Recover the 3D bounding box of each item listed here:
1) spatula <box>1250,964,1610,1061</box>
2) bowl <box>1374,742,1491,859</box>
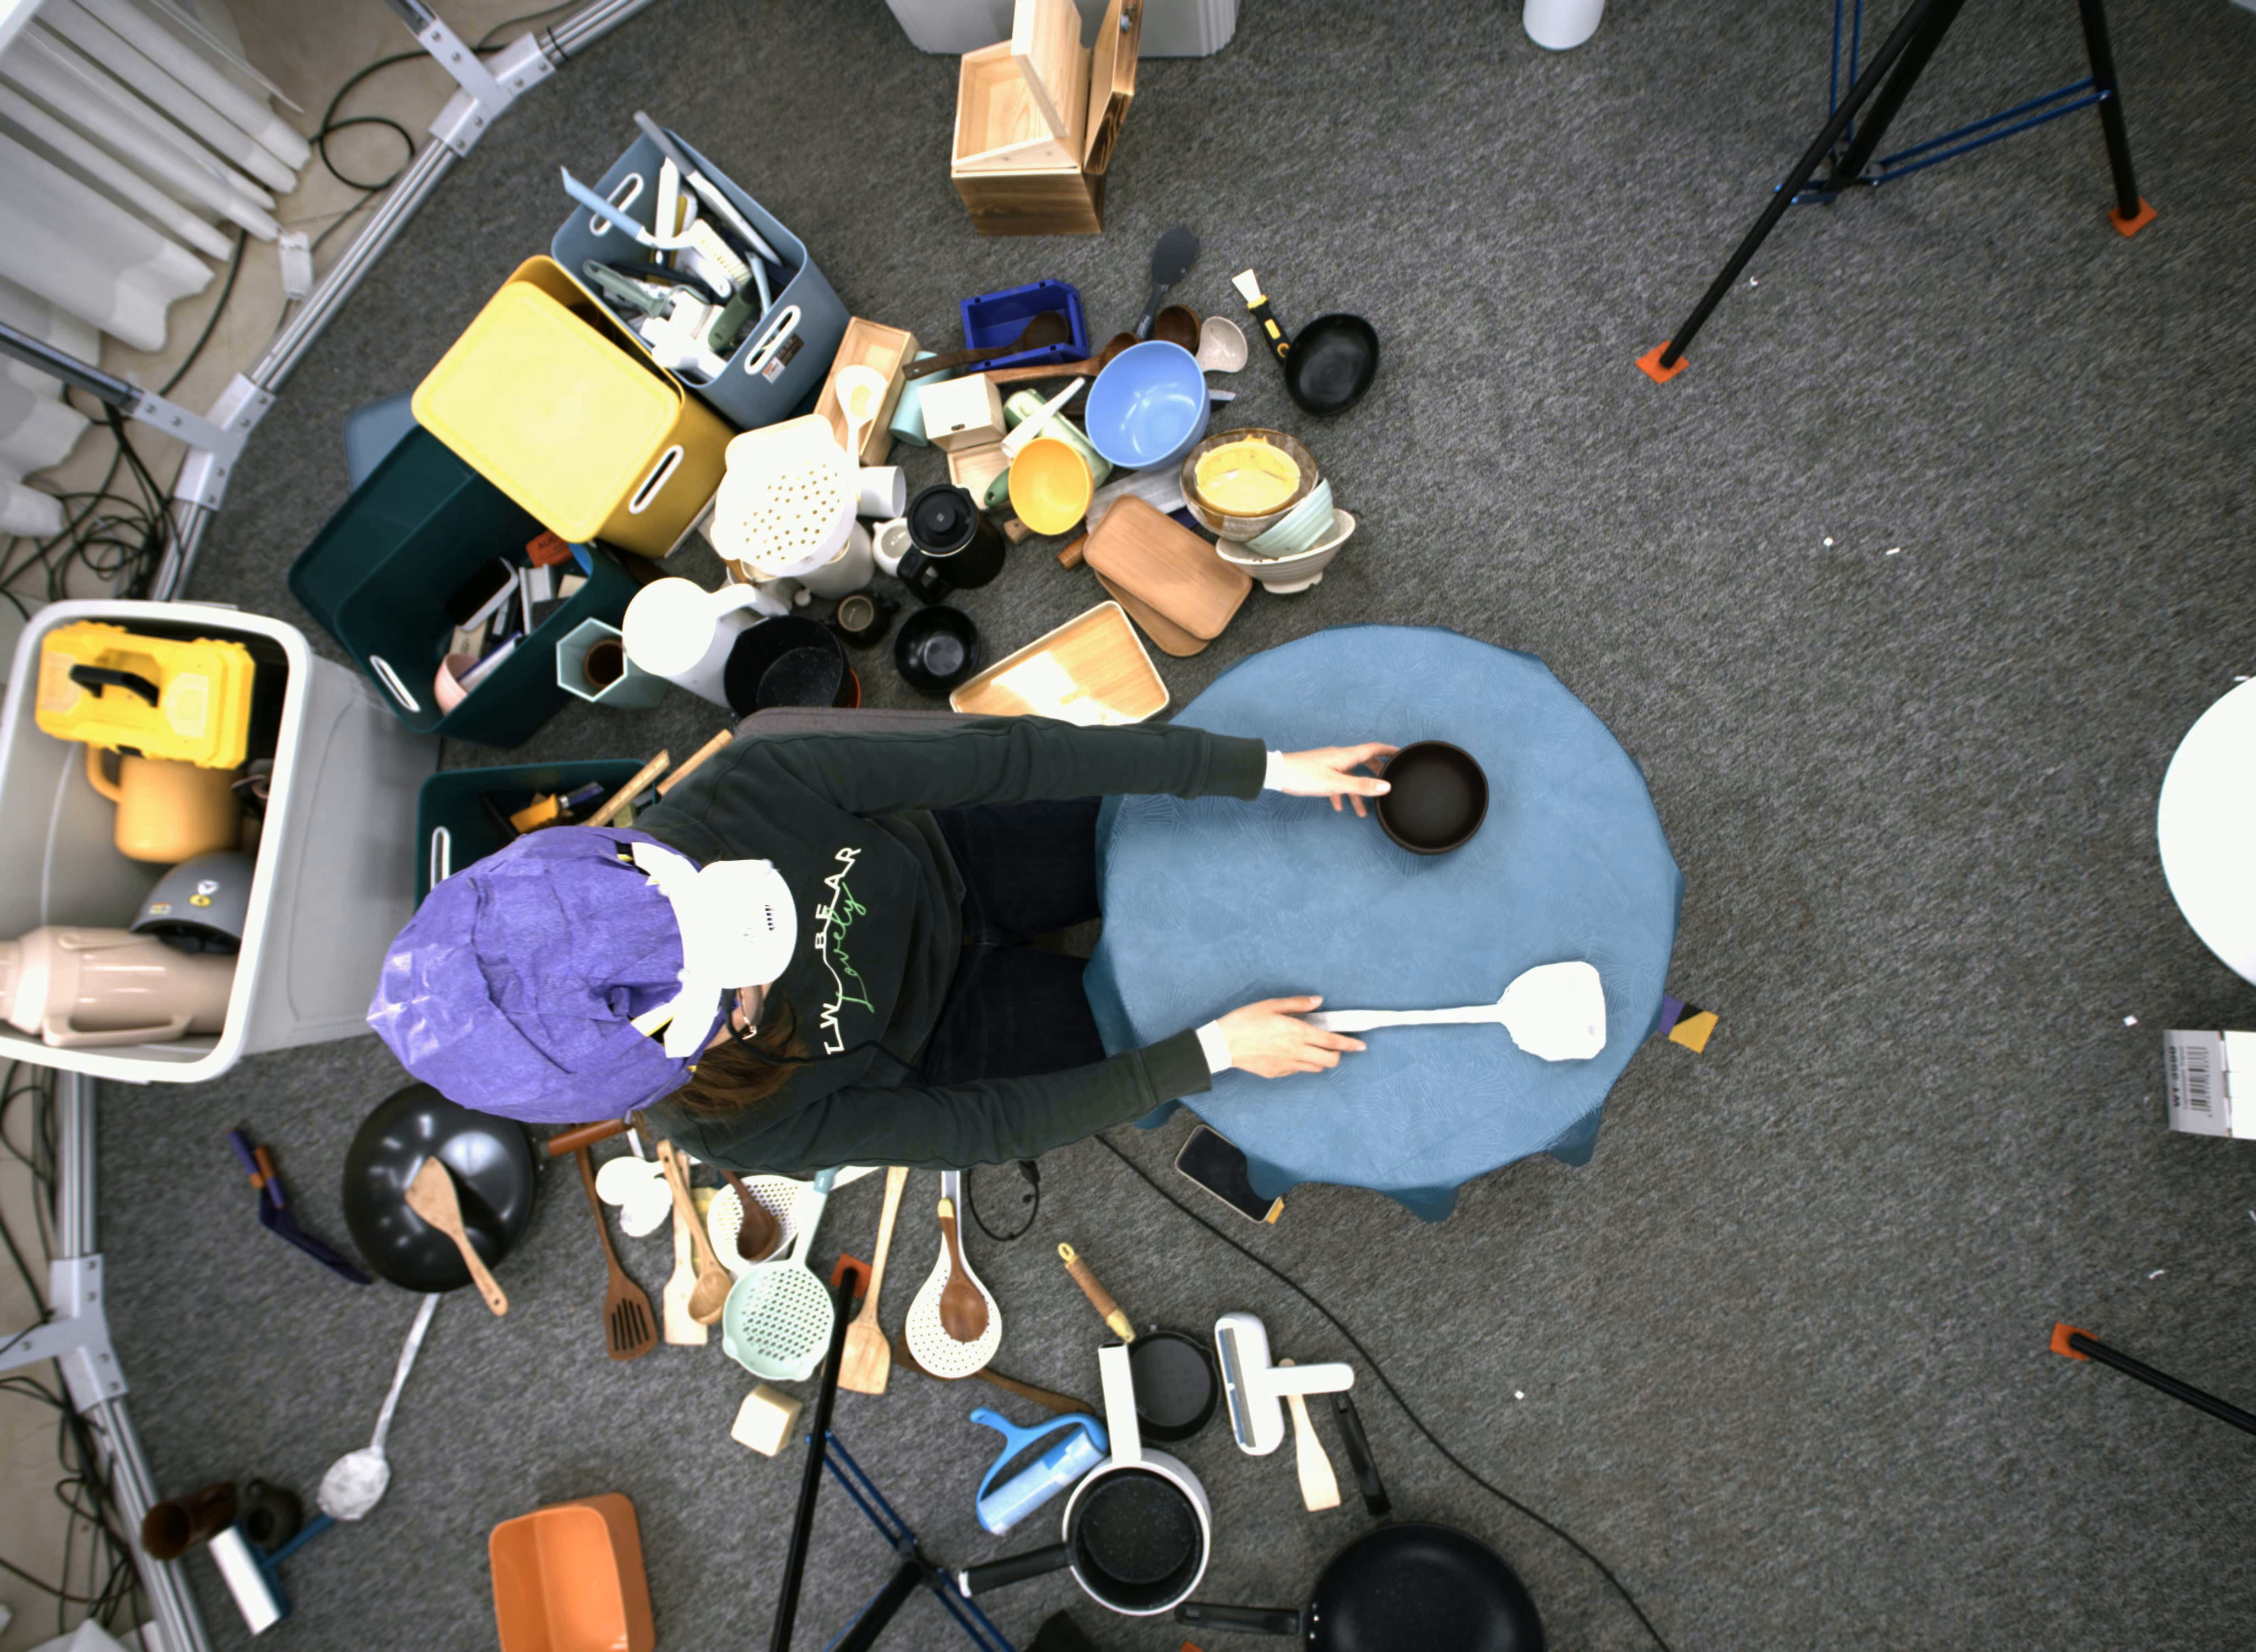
[{"bbox_3d":[0.307,0.194,1.430,0.366,0.045,0.098,-3,87,10],"label":"spatula"},{"bbox_3d":[0.315,-0.025,1.427,0.118,0.070,0.117,-1,83,11],"label":"bowl"}]
